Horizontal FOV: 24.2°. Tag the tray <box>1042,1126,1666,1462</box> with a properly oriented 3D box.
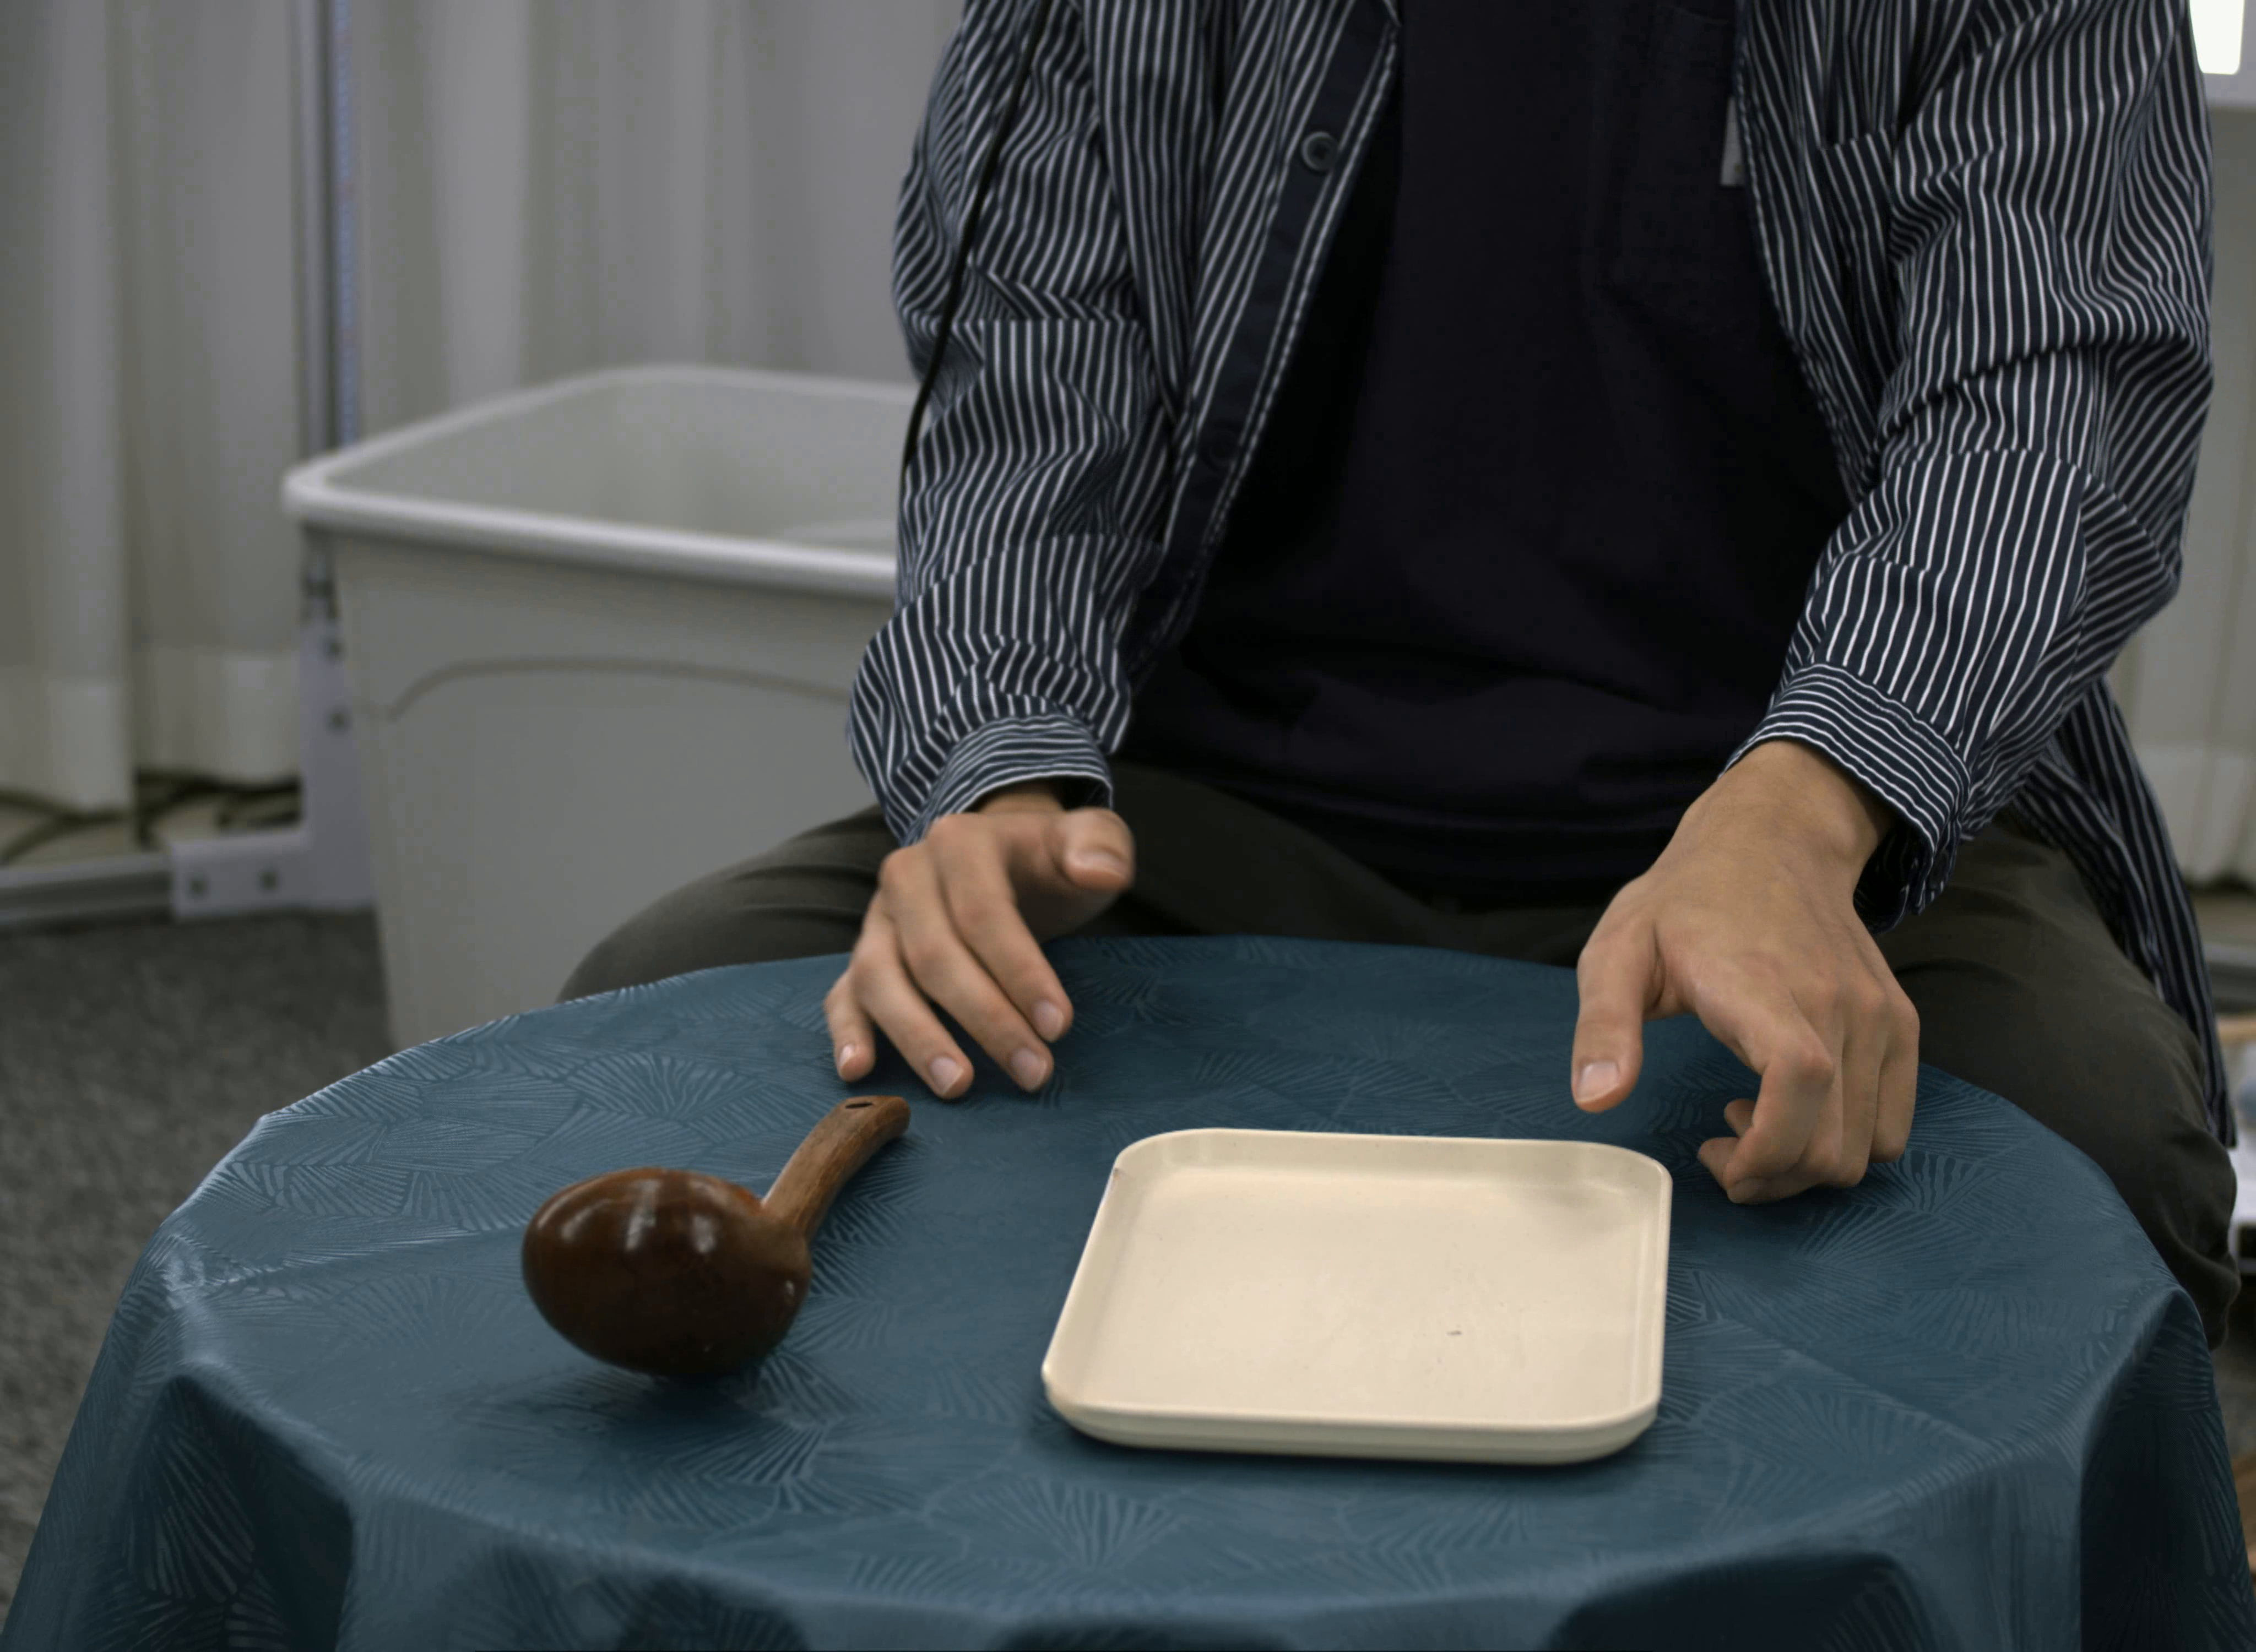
[{"bbox_3d":[0.070,0.134,1.521,0.170,0.017,0.239,3,15,6],"label":"tray"}]

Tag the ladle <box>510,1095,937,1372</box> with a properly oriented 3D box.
[{"bbox_3d":[-0.107,0.094,1.545,0.081,0.077,0.273,0,15,13],"label":"ladle"}]
